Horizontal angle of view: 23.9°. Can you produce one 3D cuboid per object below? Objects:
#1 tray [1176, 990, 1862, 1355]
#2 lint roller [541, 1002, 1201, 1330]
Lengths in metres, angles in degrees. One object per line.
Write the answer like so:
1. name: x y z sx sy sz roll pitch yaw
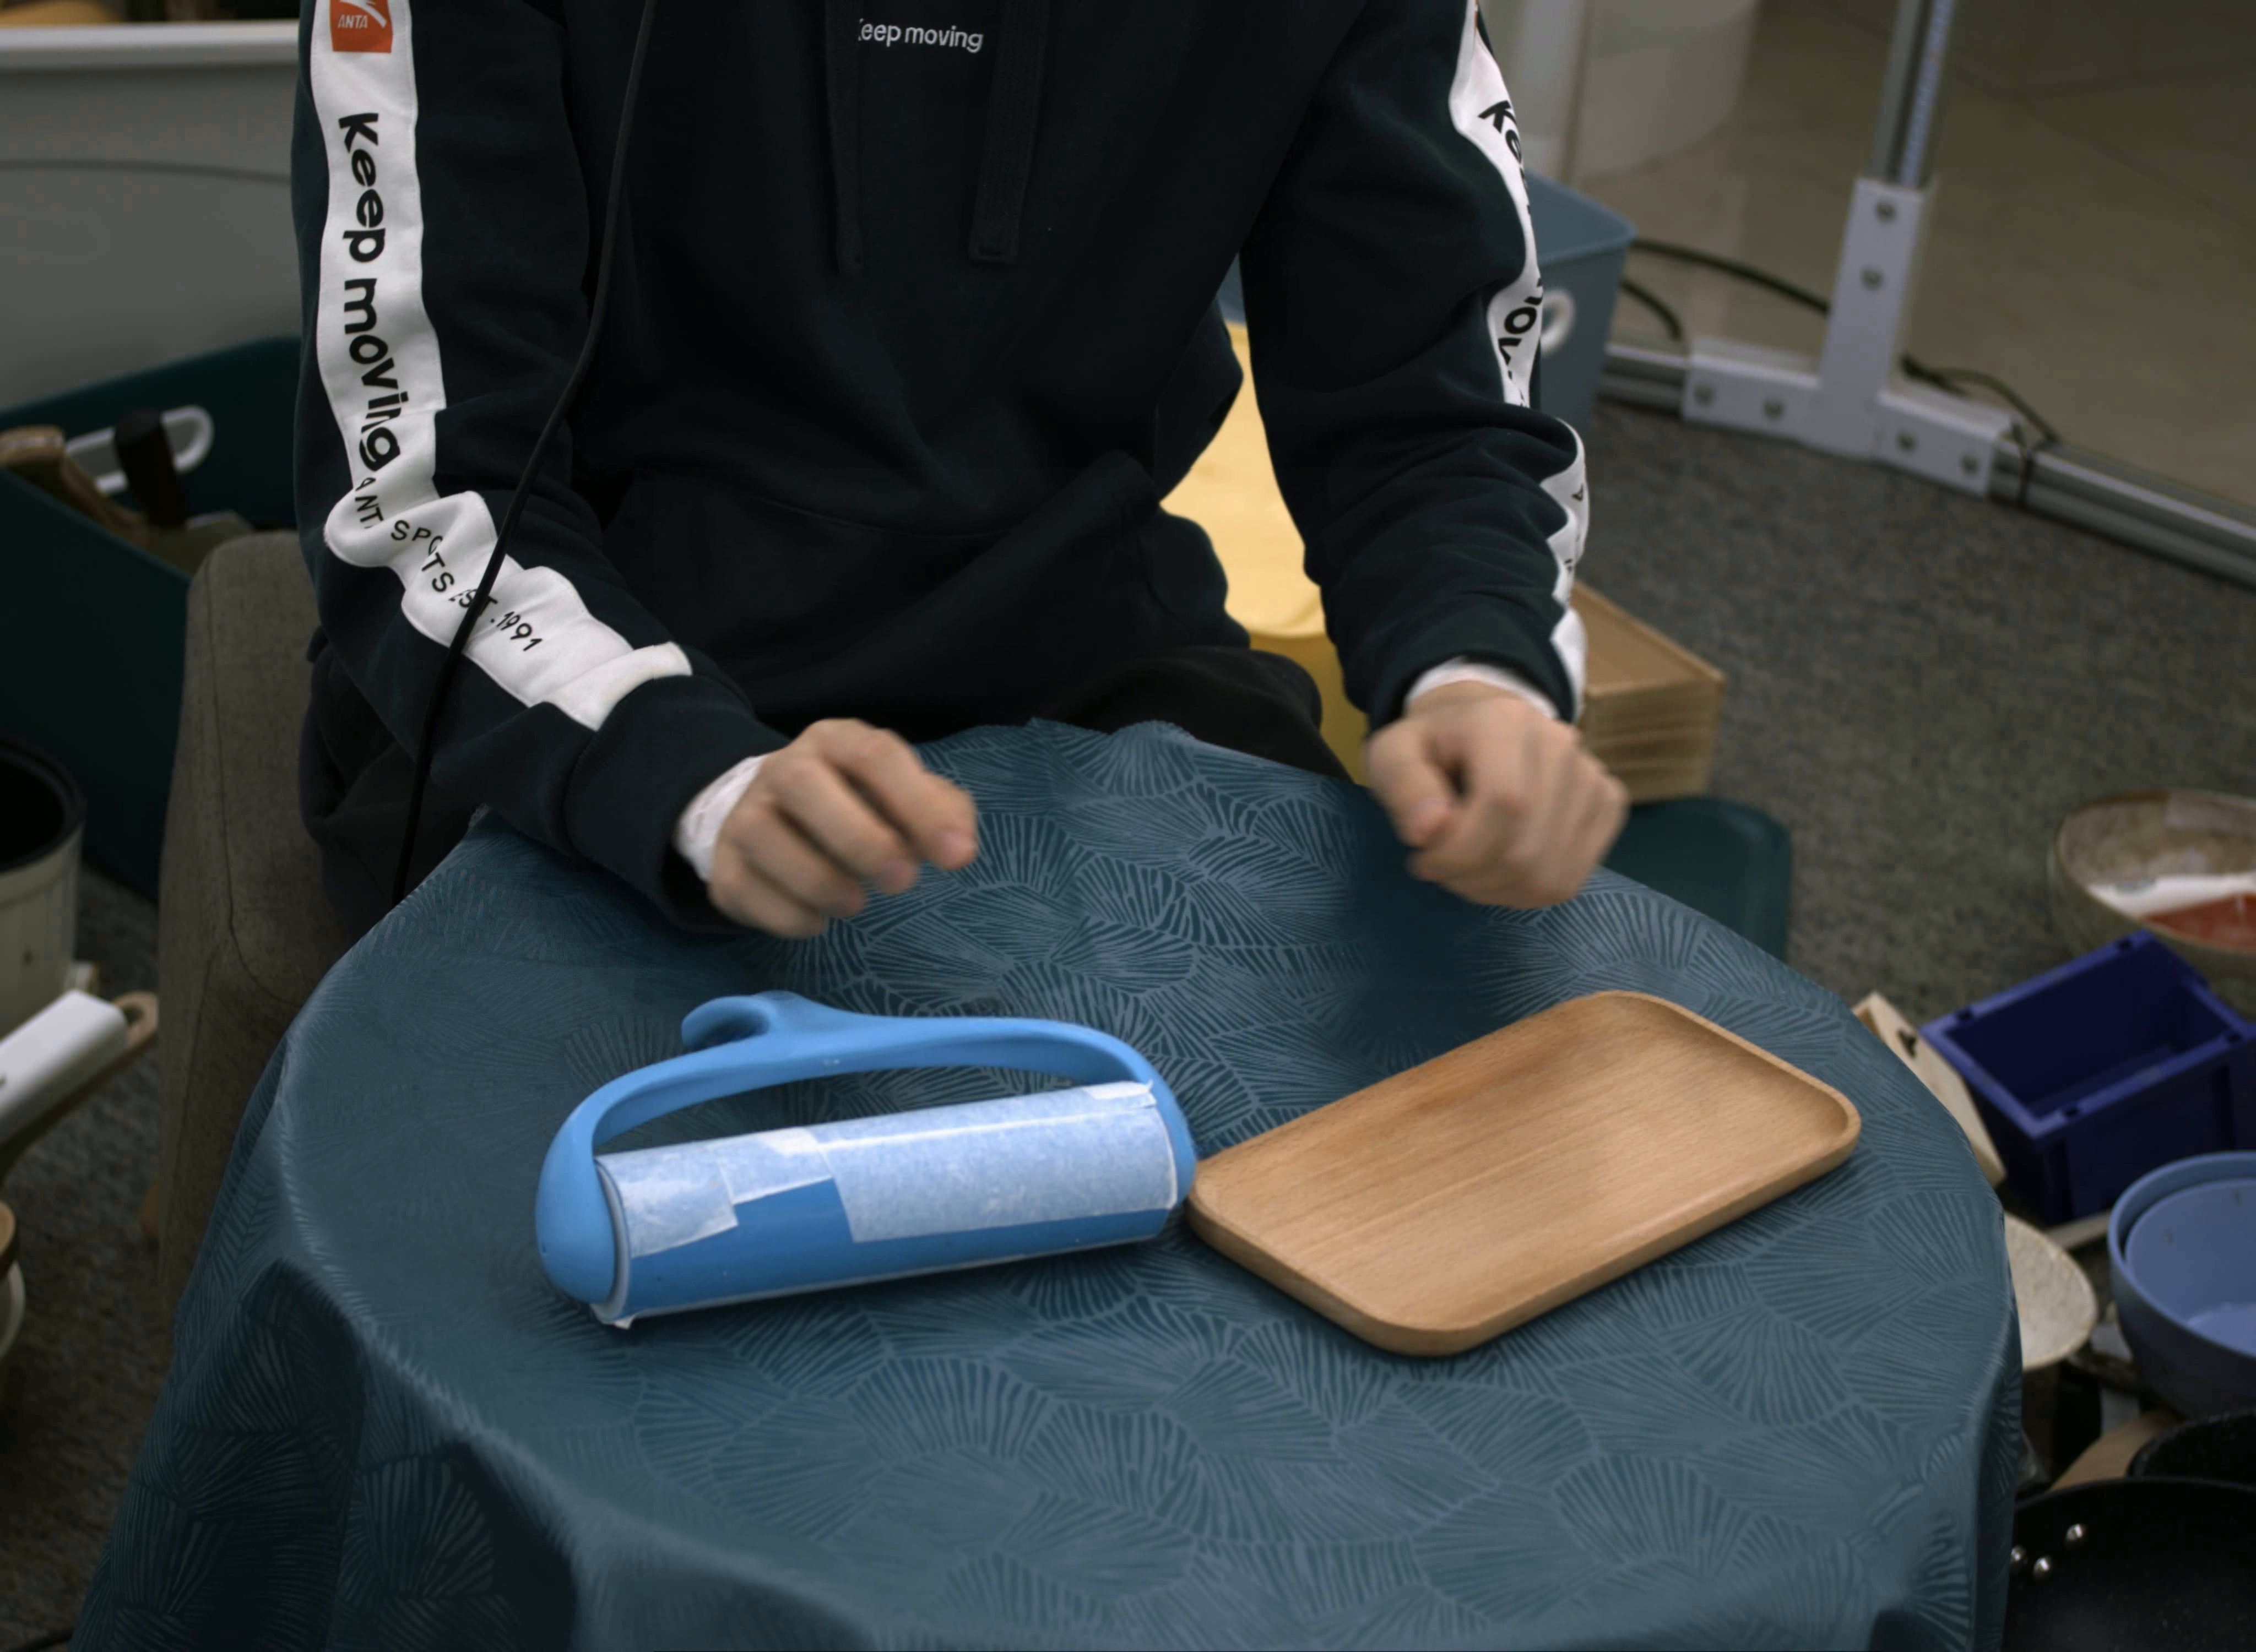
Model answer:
1. tray: 0.136 0.117 1.823 0.249 0.023 0.131 -20 34 -40
2. lint roller: -0.108 0.094 1.770 0.227 0.067 0.182 -10 32 -26
